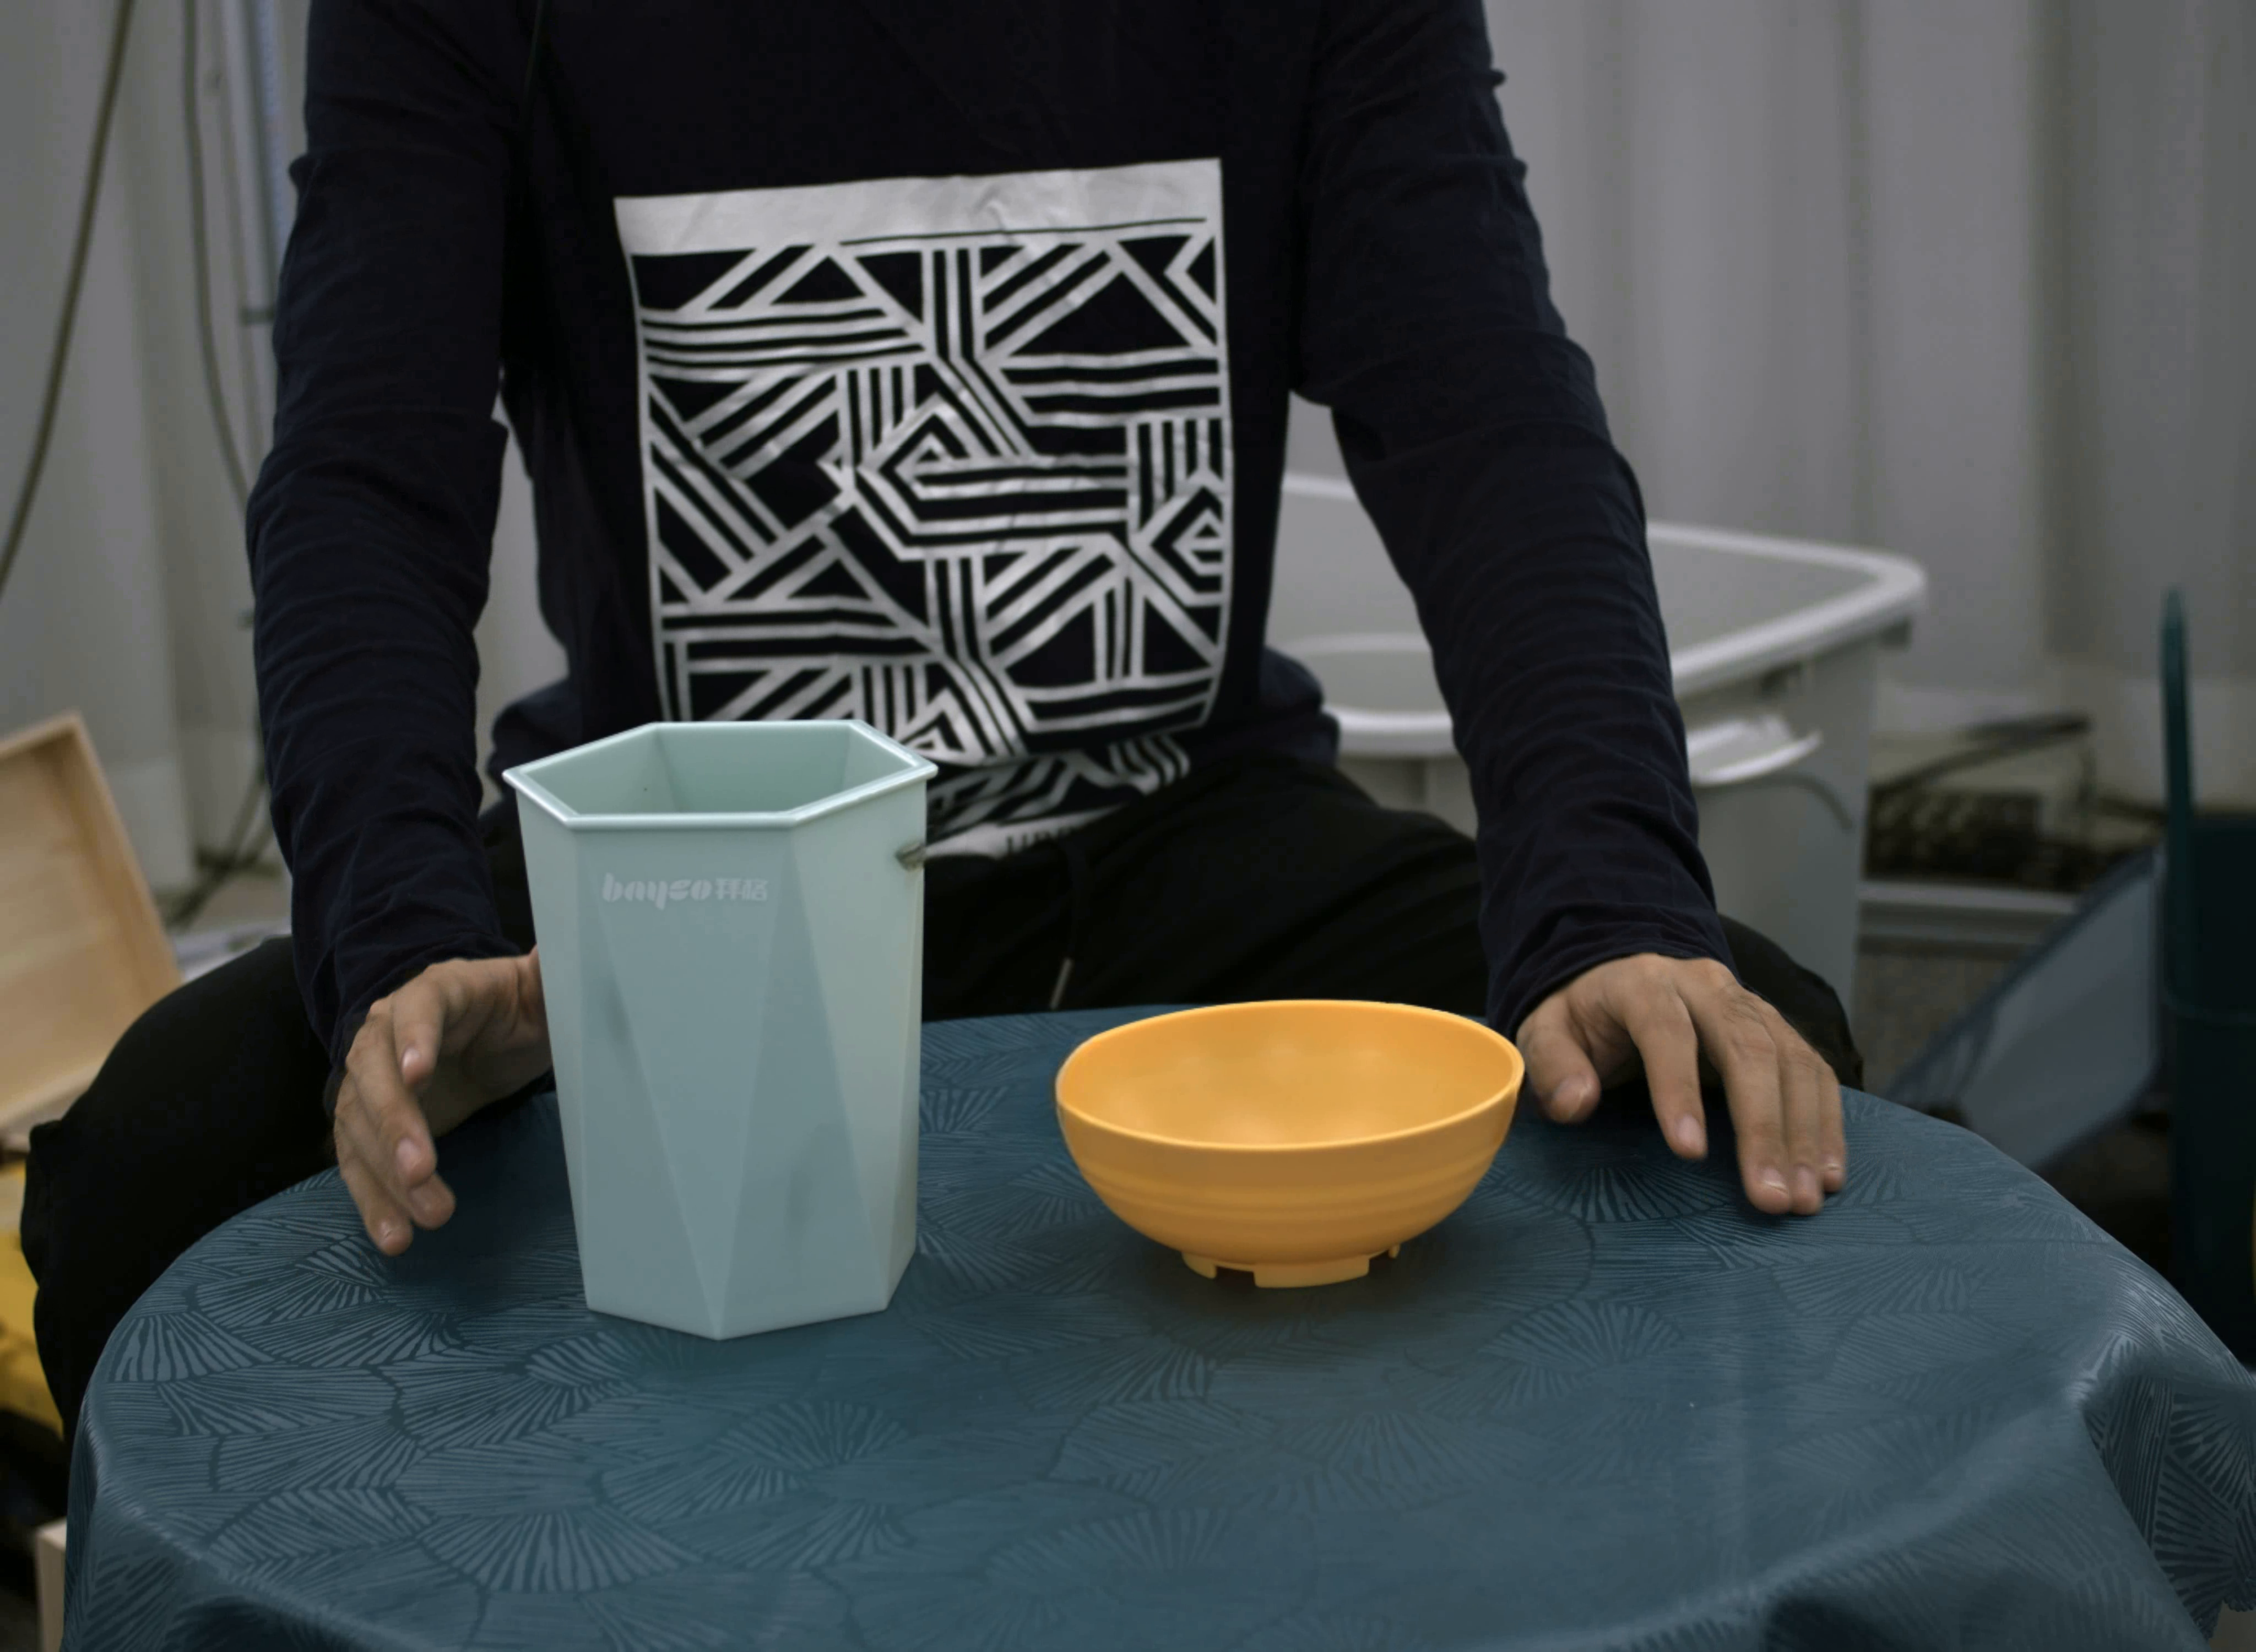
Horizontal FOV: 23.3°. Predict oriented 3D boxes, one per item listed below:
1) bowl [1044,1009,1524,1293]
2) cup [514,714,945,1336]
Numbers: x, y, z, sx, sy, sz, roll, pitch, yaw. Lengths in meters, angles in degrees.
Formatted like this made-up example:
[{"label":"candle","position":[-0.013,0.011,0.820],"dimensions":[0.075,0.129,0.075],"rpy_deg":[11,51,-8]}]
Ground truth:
[{"label":"bowl","position":[0.047,0.103,1.649],"dimensions":[0.145,0.060,0.146],"rpy_deg":[-1,13,0]},{"label":"cup","position":[-0.115,0.059,1.631],"dimensions":[0.131,0.162,0.116],"rpy_deg":[0,13,7]}]
